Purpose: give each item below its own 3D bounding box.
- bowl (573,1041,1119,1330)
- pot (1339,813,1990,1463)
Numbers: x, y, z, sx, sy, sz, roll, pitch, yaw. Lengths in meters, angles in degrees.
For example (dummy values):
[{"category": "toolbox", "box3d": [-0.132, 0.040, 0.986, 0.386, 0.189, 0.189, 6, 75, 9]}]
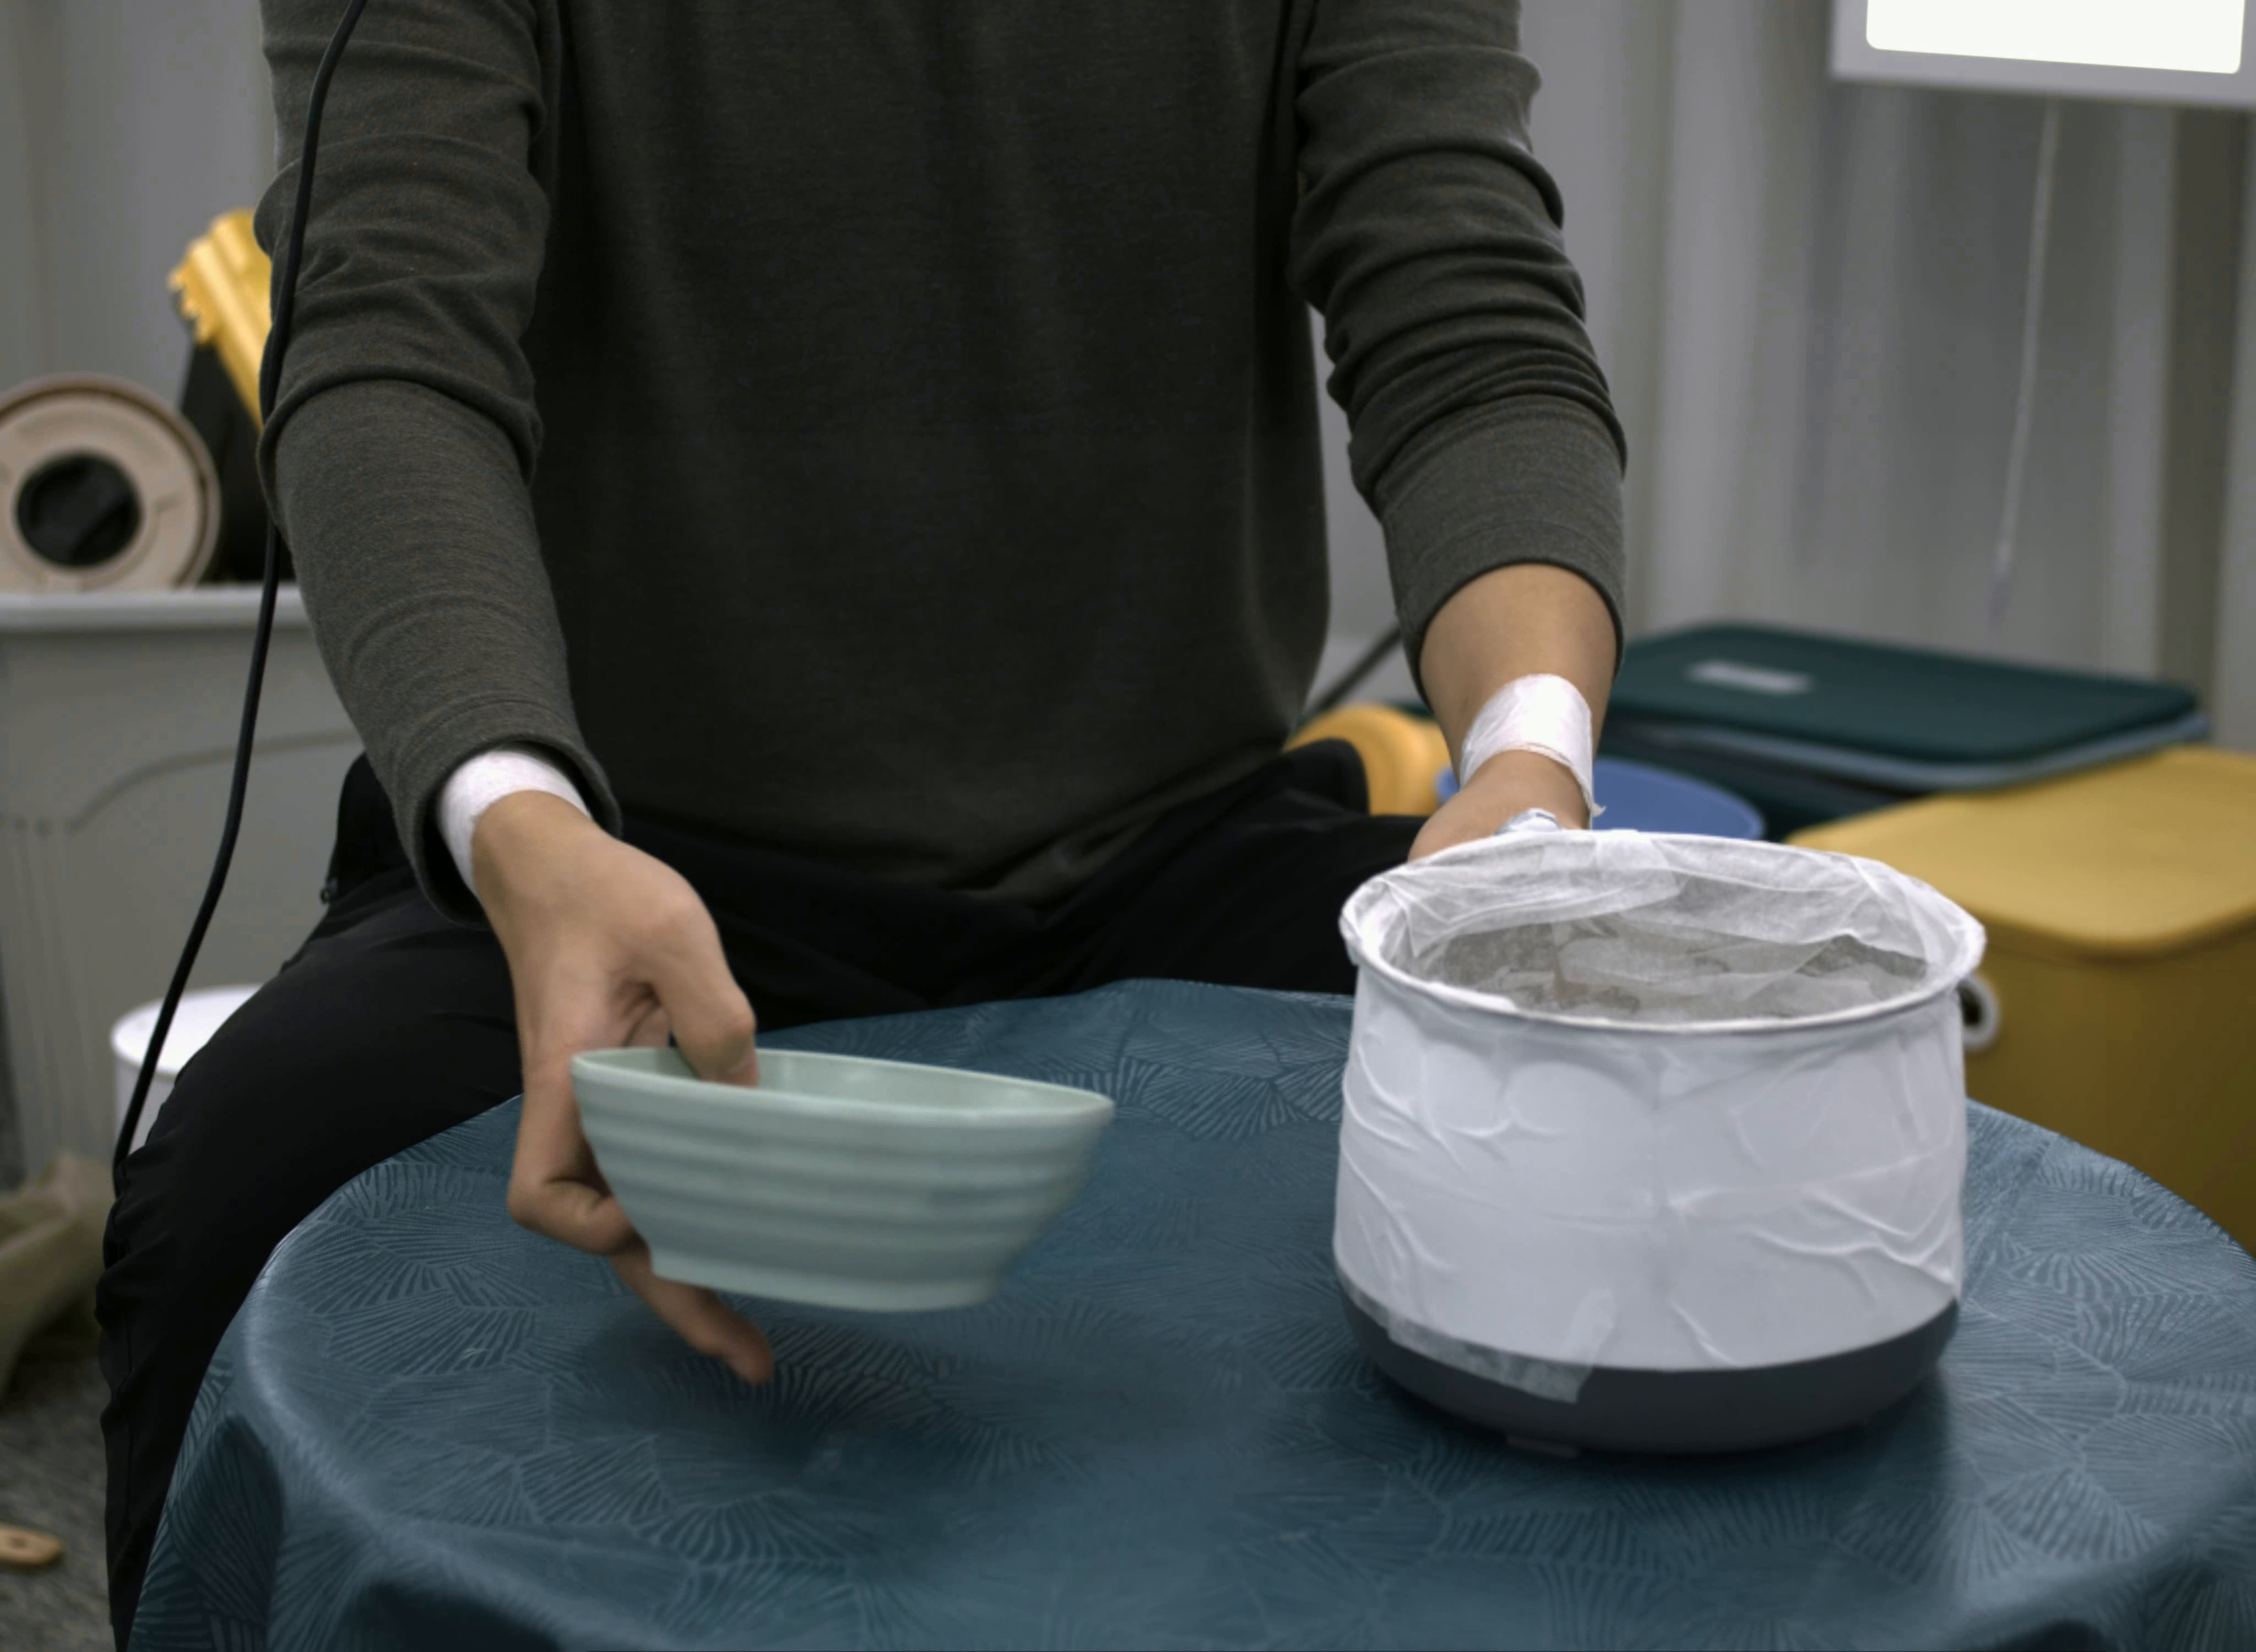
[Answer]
[{"category": "bowl", "box3d": [-0.079, 0.098, 1.426, 0.151, 0.059, 0.151, 8, 4, 0]}, {"category": "pot", "box3d": [0.138, 0.081, 1.483, 0.179, 0.138, 0.231, -5, 17, -17]}]
